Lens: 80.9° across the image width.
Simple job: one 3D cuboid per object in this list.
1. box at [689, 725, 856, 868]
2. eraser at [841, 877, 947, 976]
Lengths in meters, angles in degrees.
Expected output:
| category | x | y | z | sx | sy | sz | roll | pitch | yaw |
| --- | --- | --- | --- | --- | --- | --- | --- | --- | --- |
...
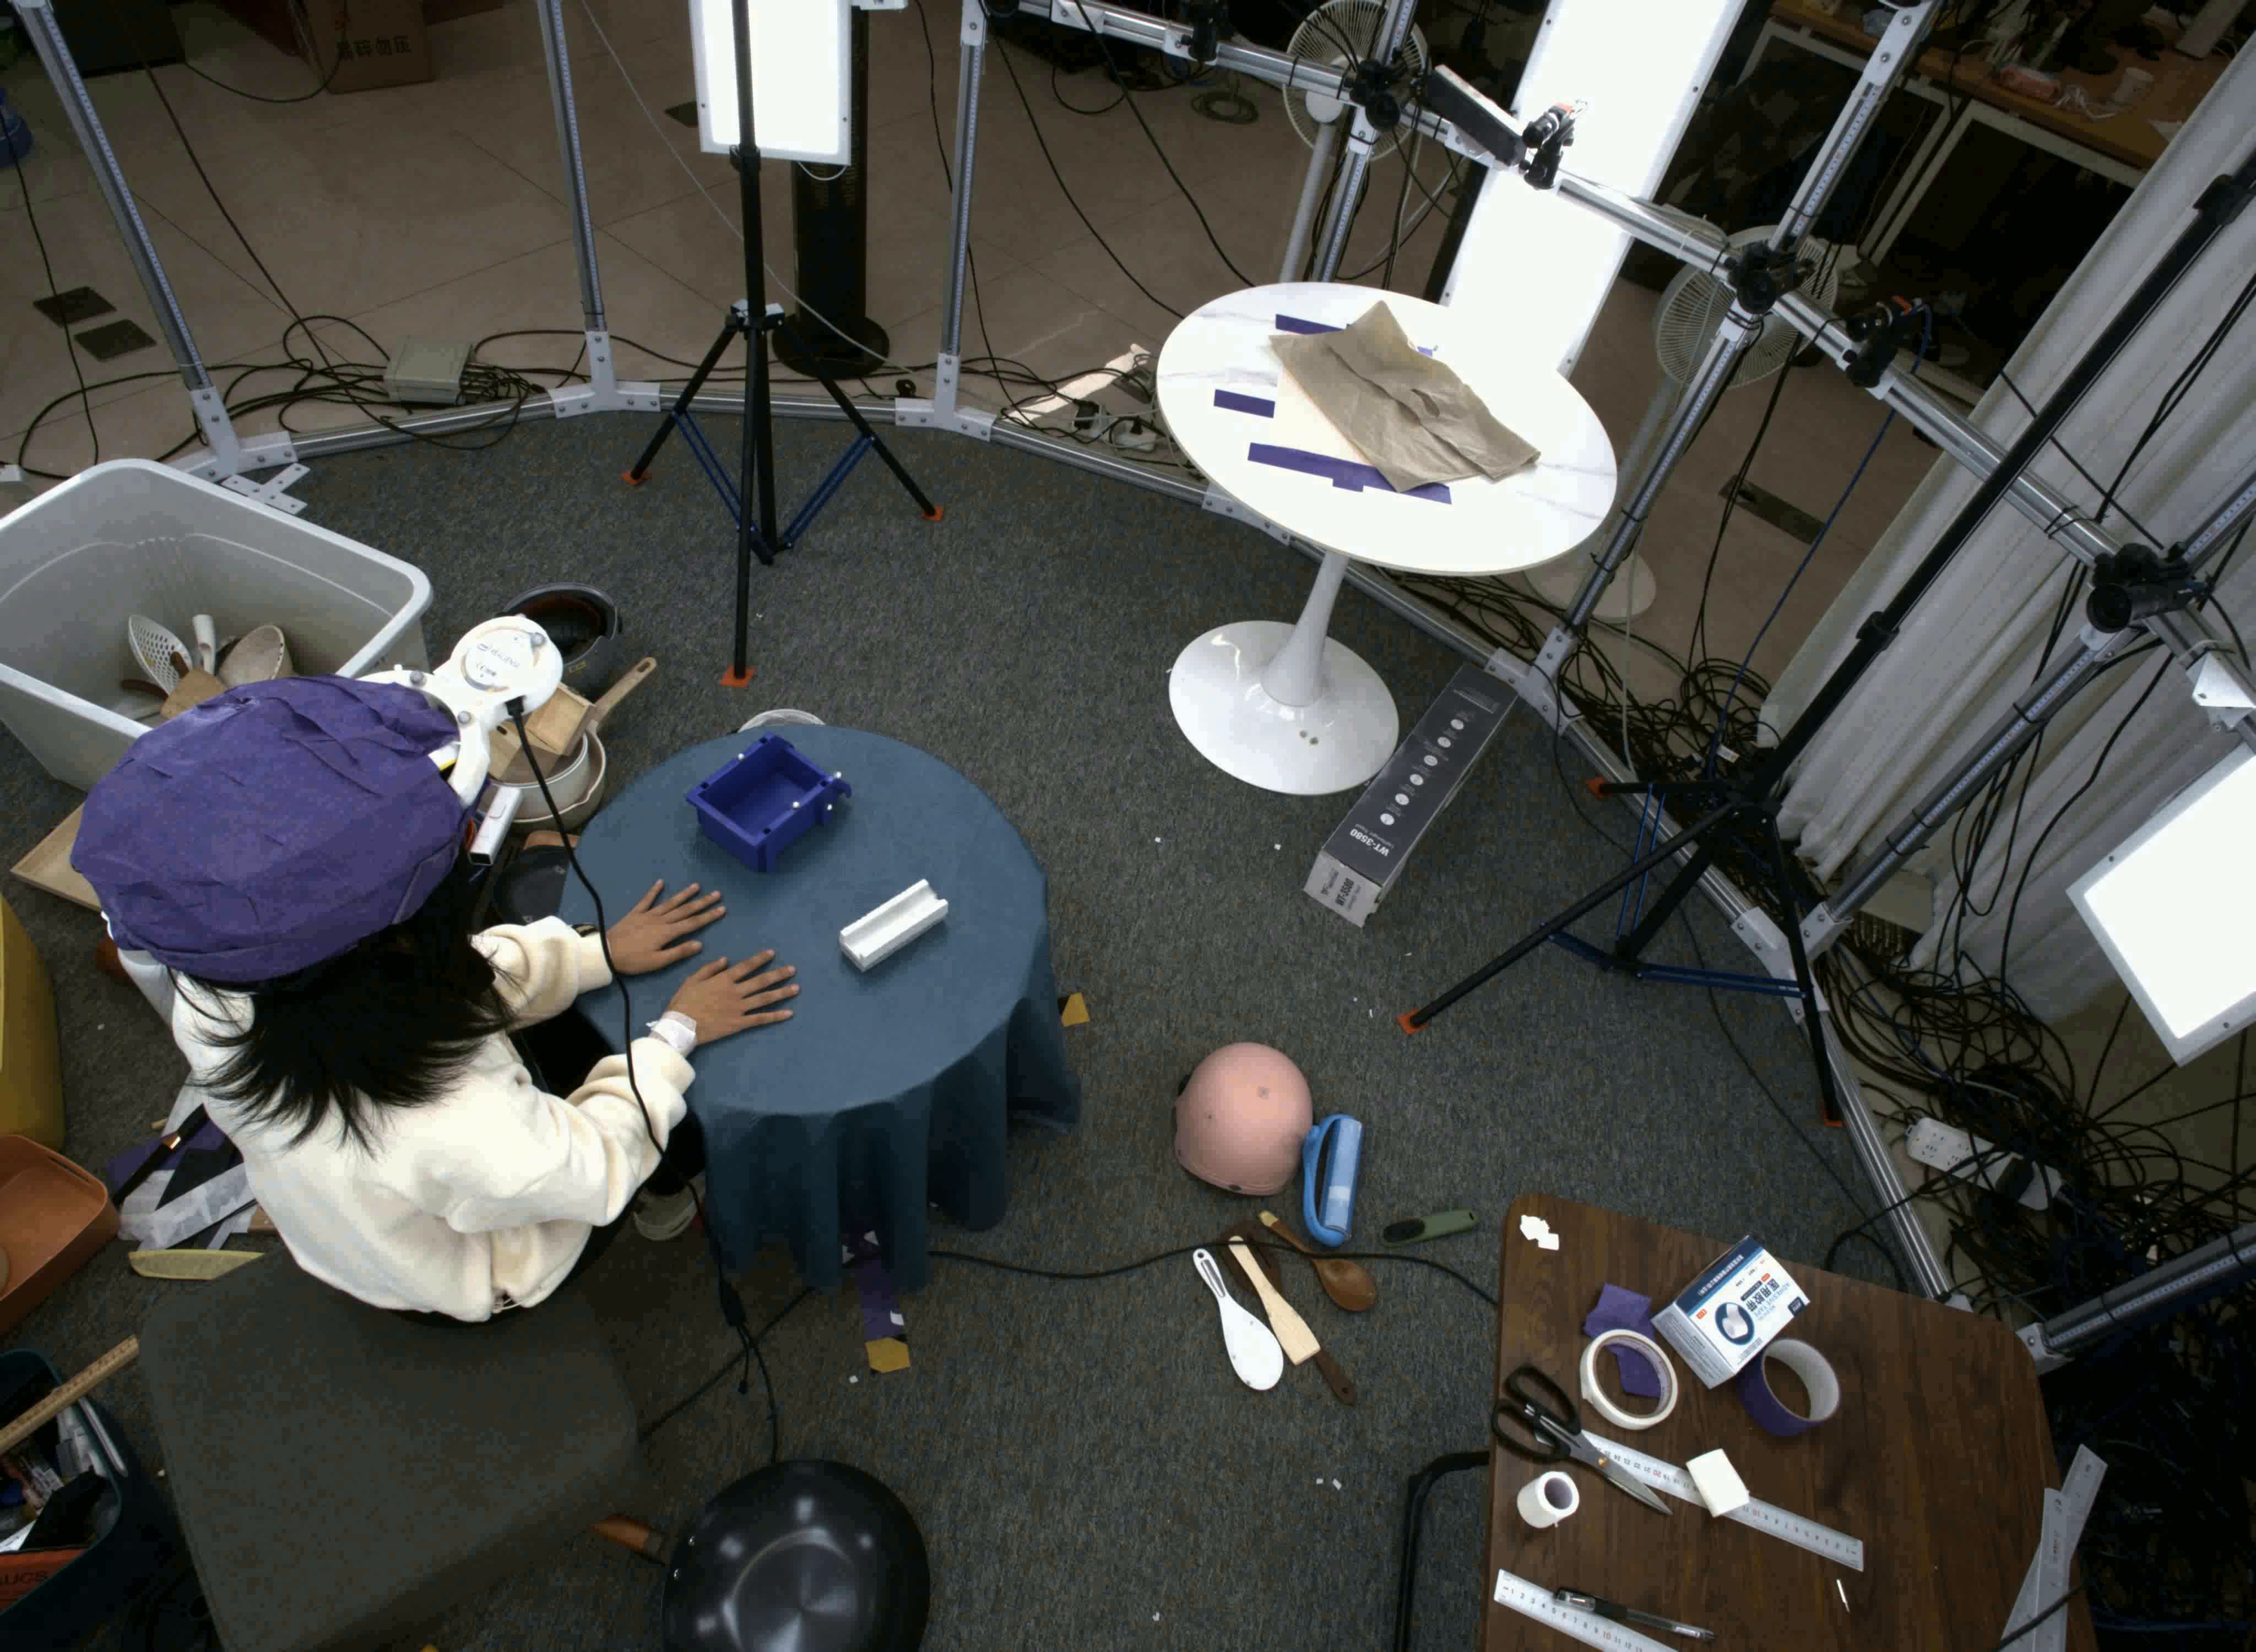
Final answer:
| category | x | y | z | sx | sy | sz | roll | pitch | yaw |
| --- | --- | --- | --- | --- | --- | --- | --- | --- | --- |
| box | -0.462 | -0.044 | 1.689 | 0.122 | 0.083 | 0.179 | 35 | 55 | 13 |
| eraser | -0.293 | 0.124 | 1.630 | 0.049 | 0.047 | 0.134 | 41 | 53 | 16 |
